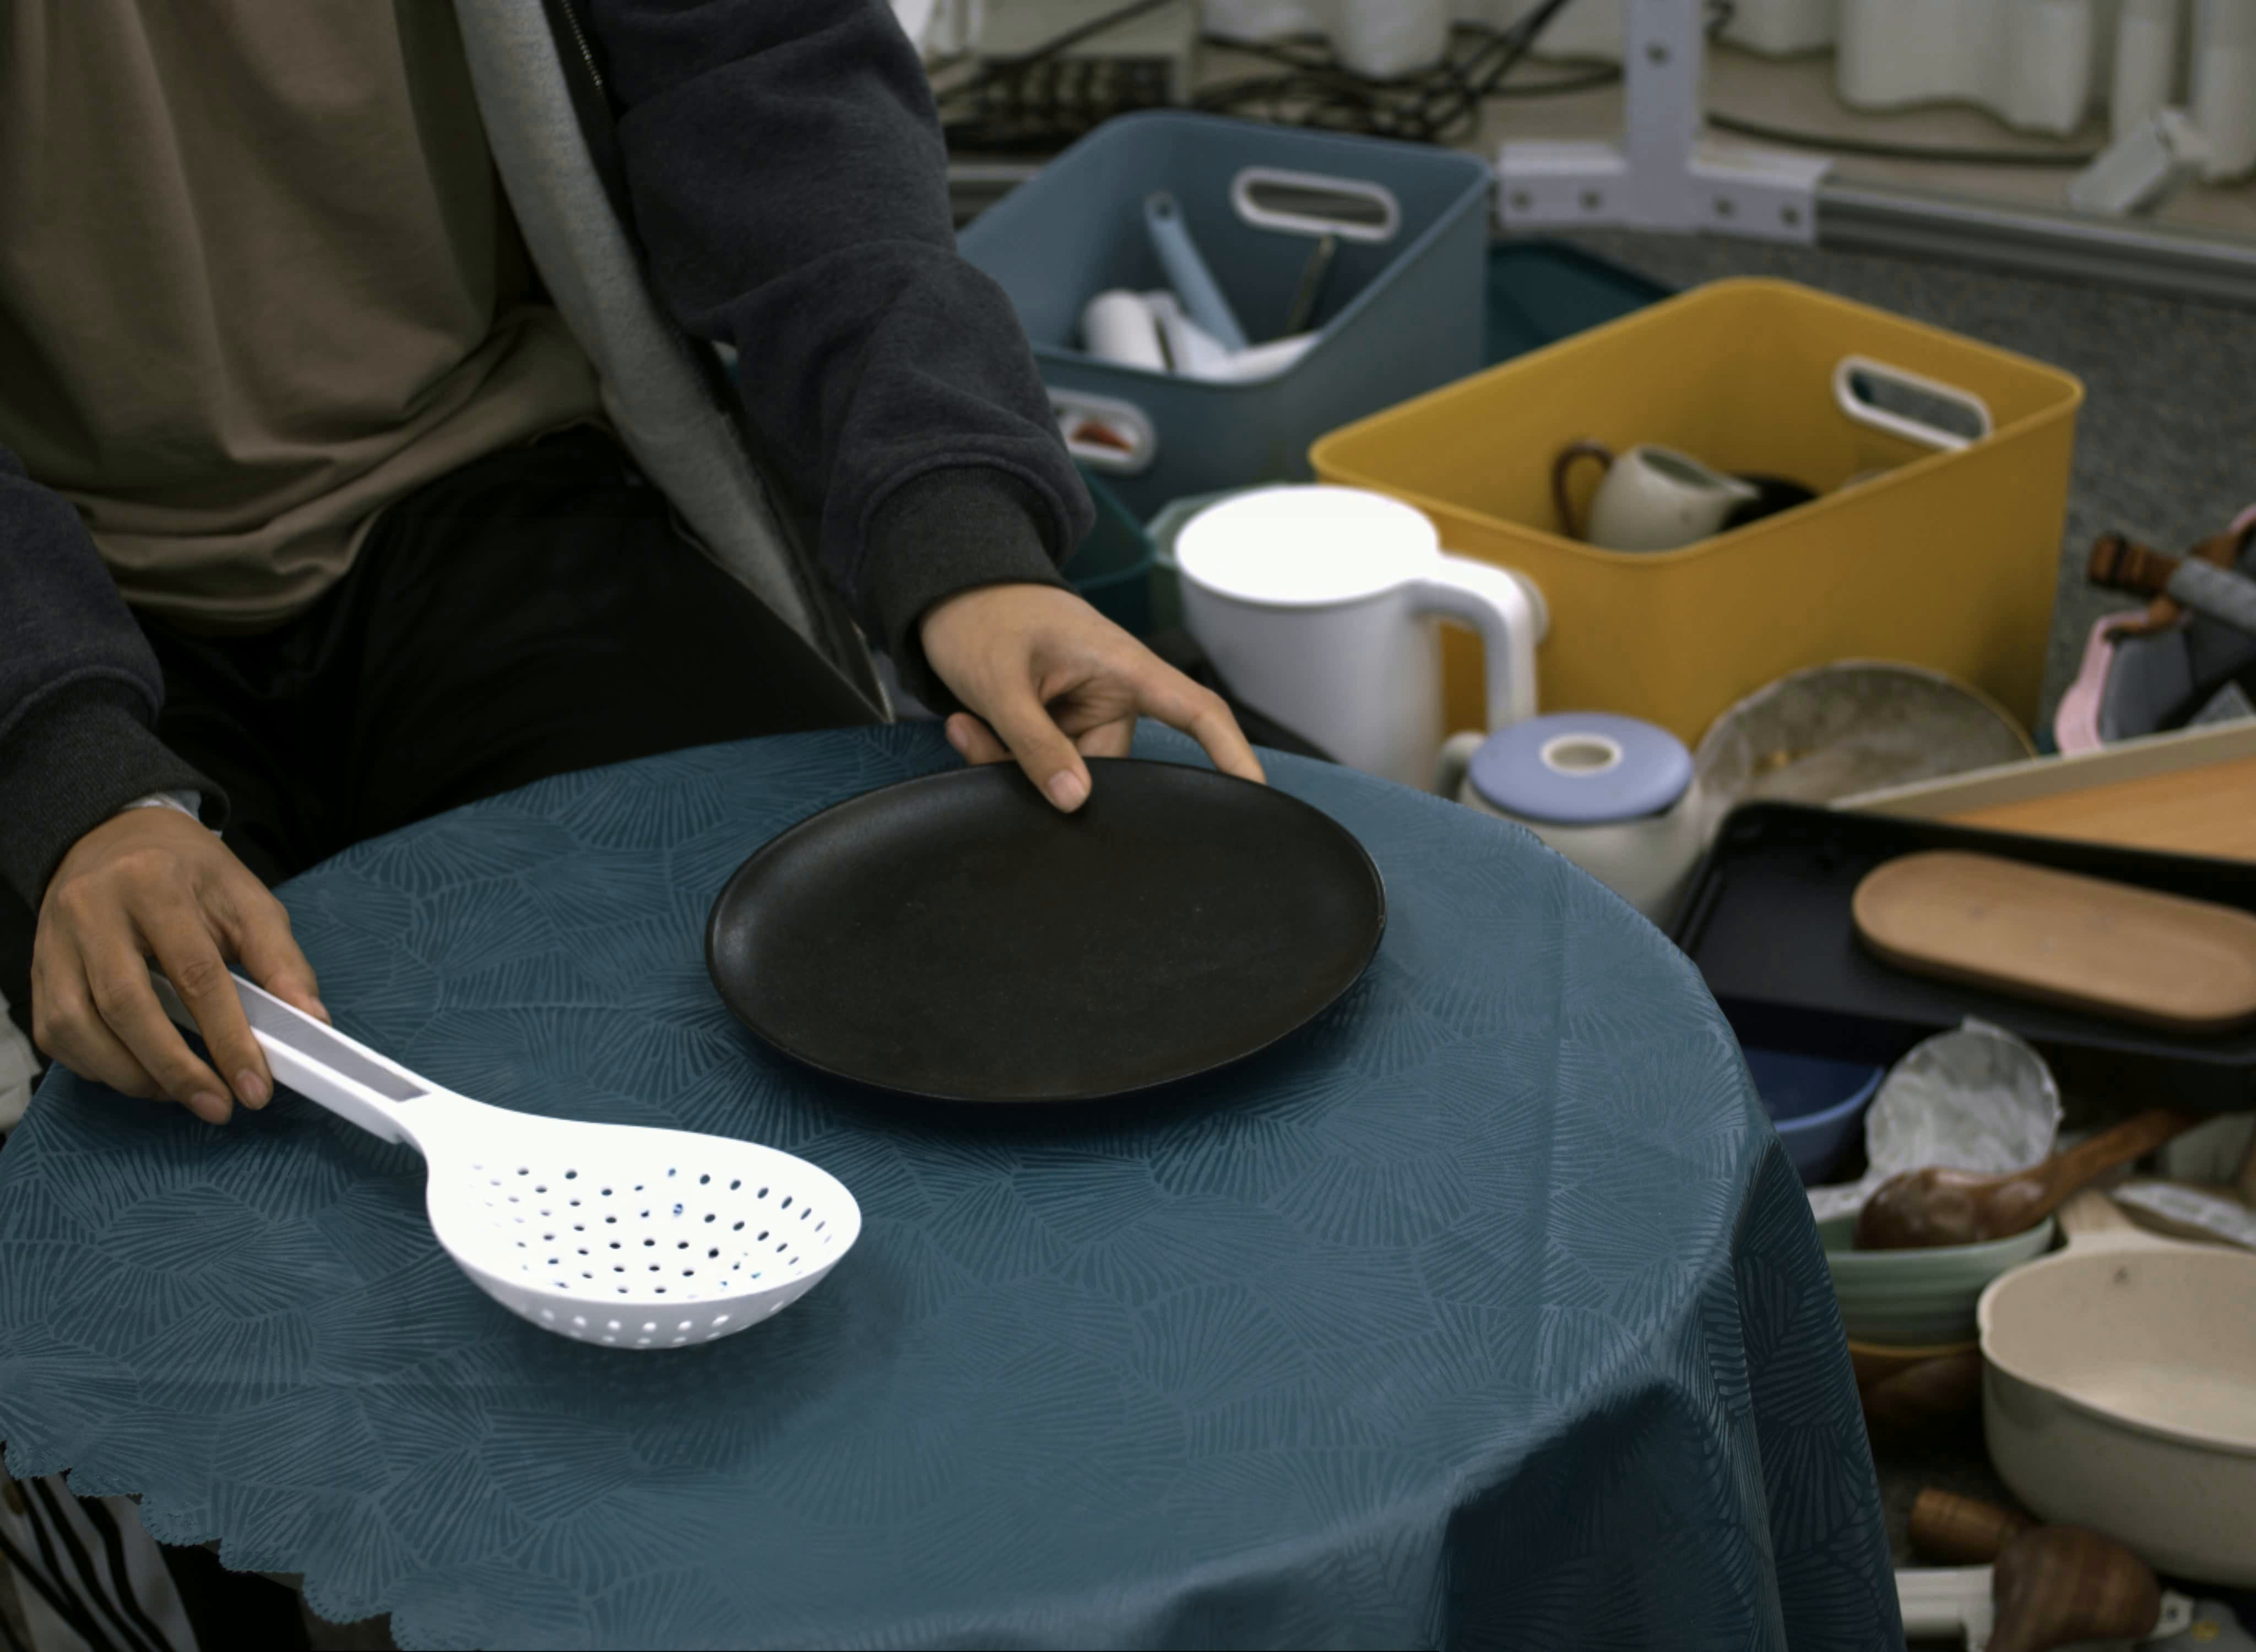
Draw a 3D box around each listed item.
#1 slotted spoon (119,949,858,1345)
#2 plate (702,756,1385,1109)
[{"bbox_3d":[-0.228,0.100,1.861,0.137,0.045,0.350,-11,28,-42],"label":"slotted spoon"},{"bbox_3d":[-0.029,0.042,1.990,0.243,0.023,0.248,-2,29,2],"label":"plate"}]
